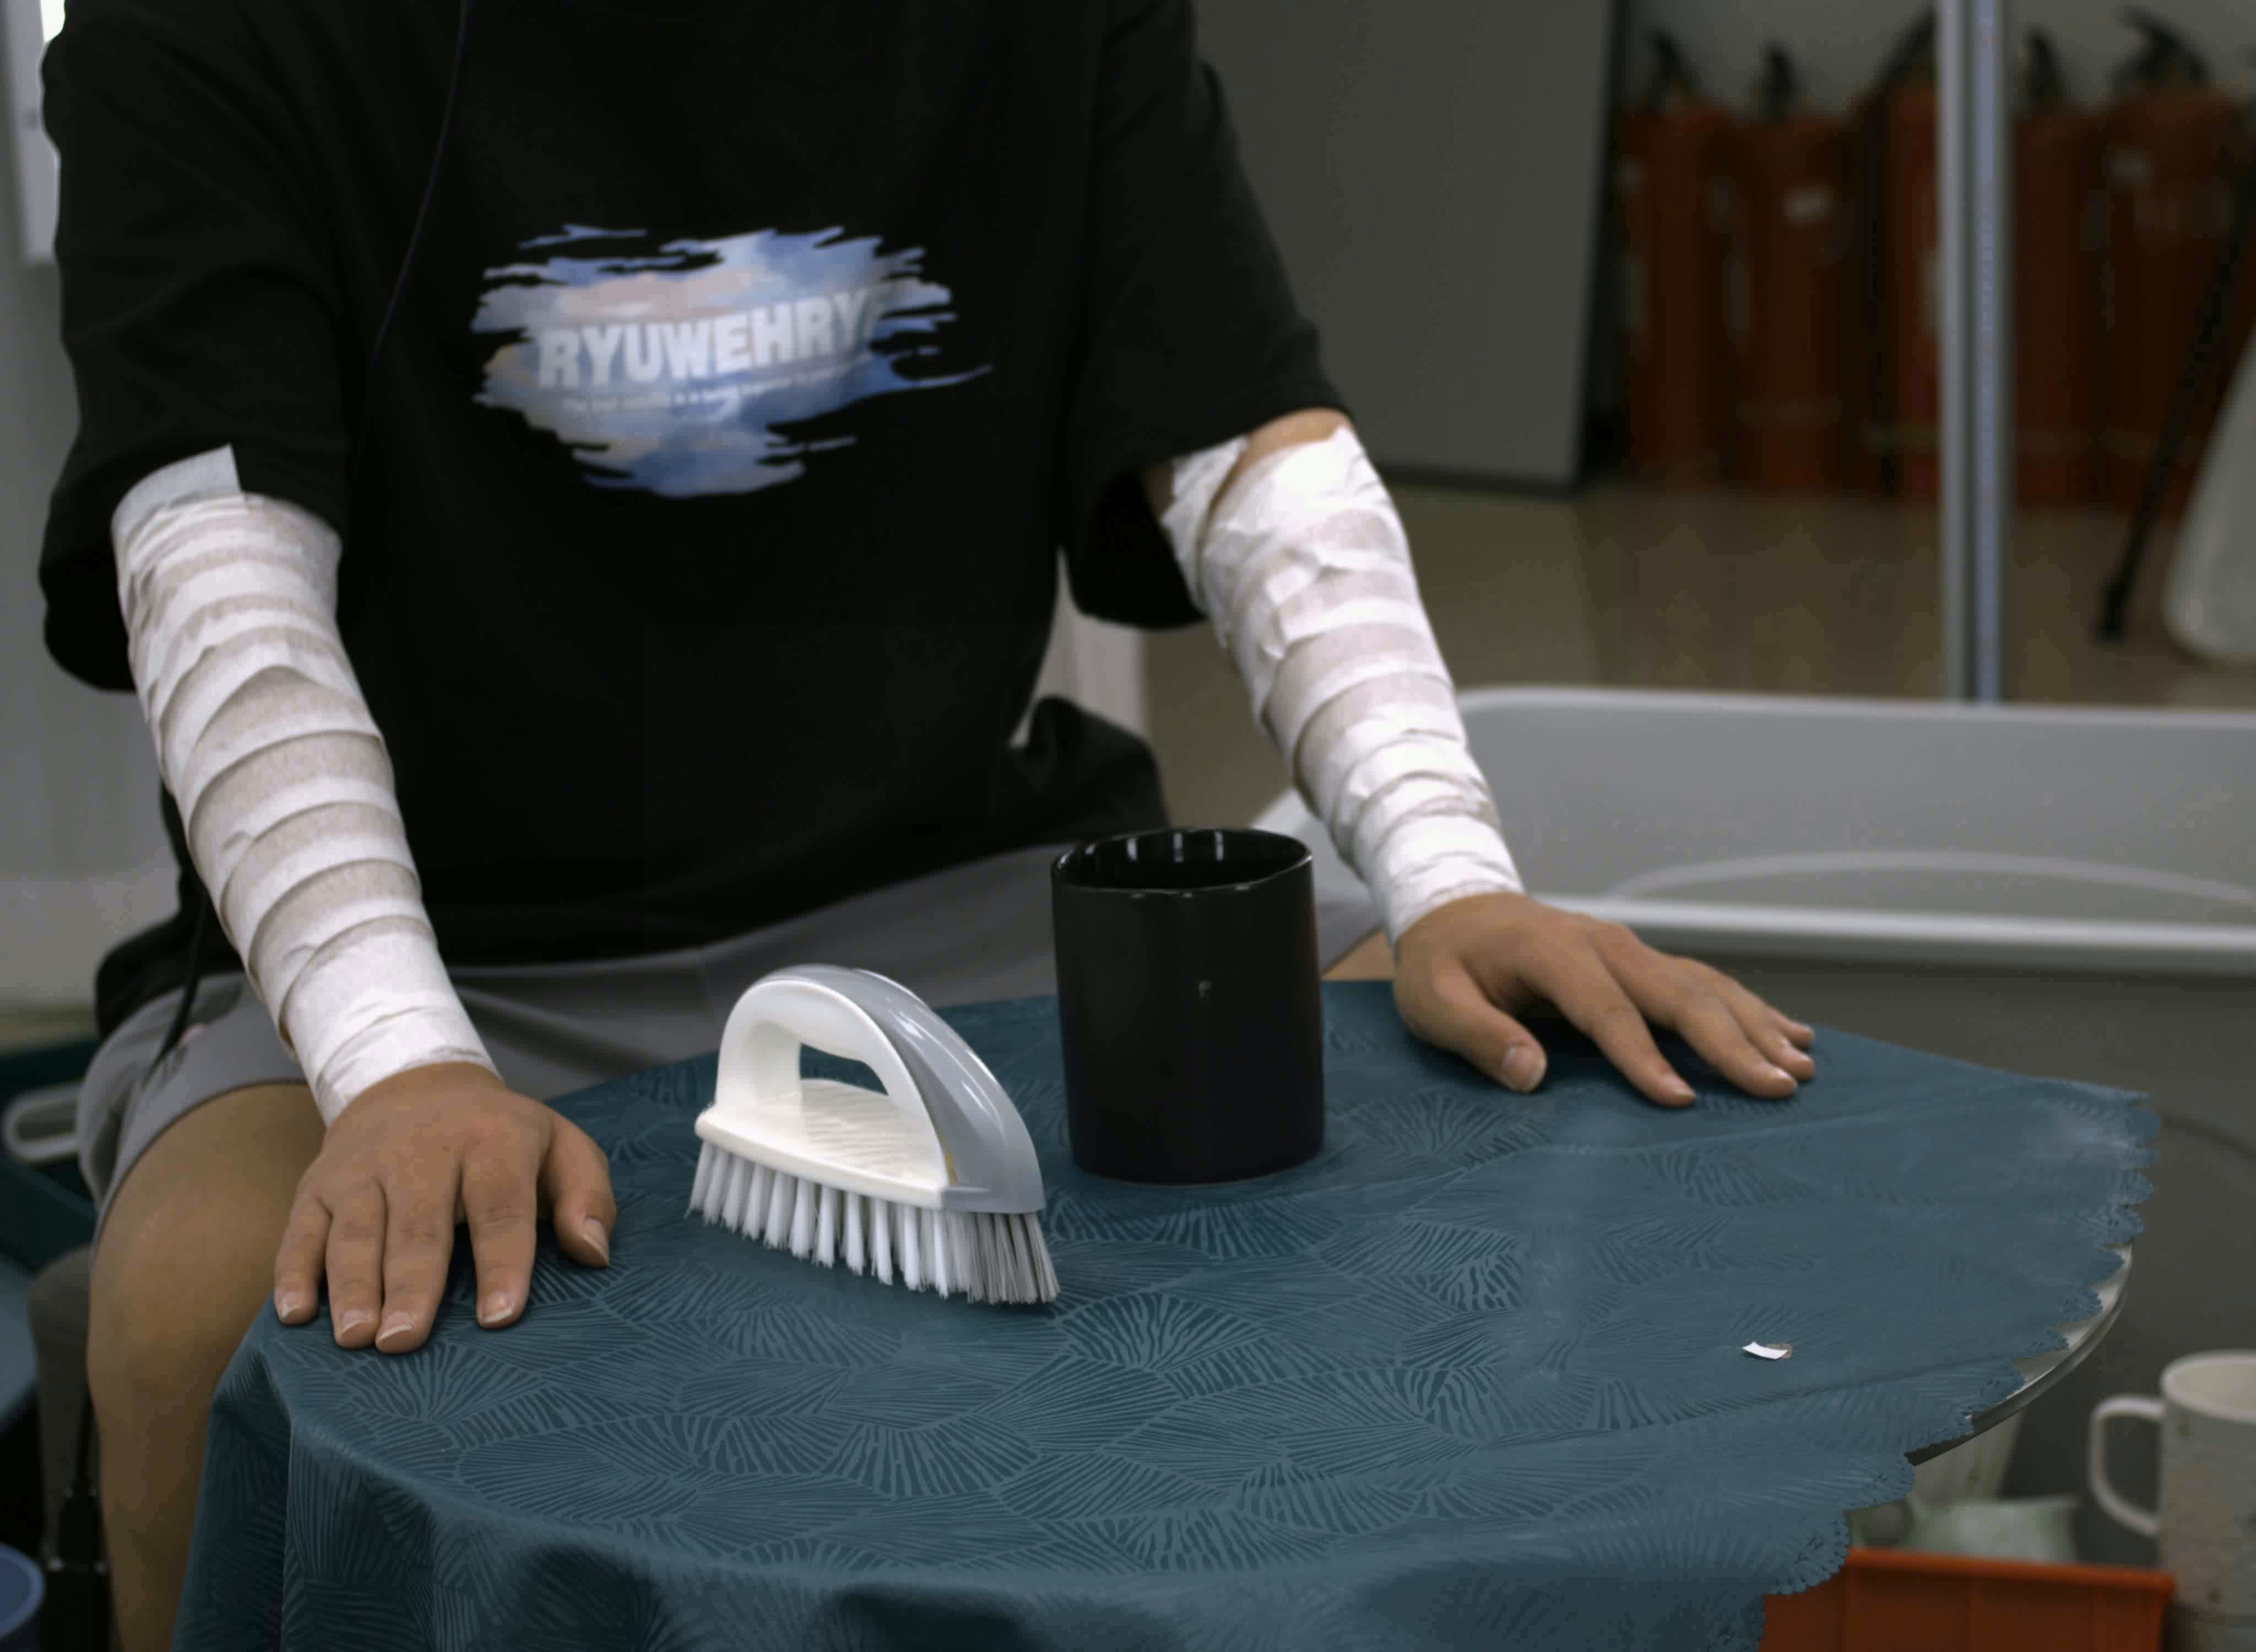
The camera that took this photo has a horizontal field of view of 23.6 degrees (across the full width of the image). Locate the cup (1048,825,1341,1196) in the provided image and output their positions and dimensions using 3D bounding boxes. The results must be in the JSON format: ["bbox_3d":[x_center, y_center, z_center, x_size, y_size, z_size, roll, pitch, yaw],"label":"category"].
[{"bbox_3d":[0.024,0.057,1.817,0.088,0.106,0.123,-7,12,6],"label":"cup"}]

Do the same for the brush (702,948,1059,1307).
[{"bbox_3d":[-0.076,0.092,1.720,0.060,0.095,0.177,-14,19,-32],"label":"brush"}]
